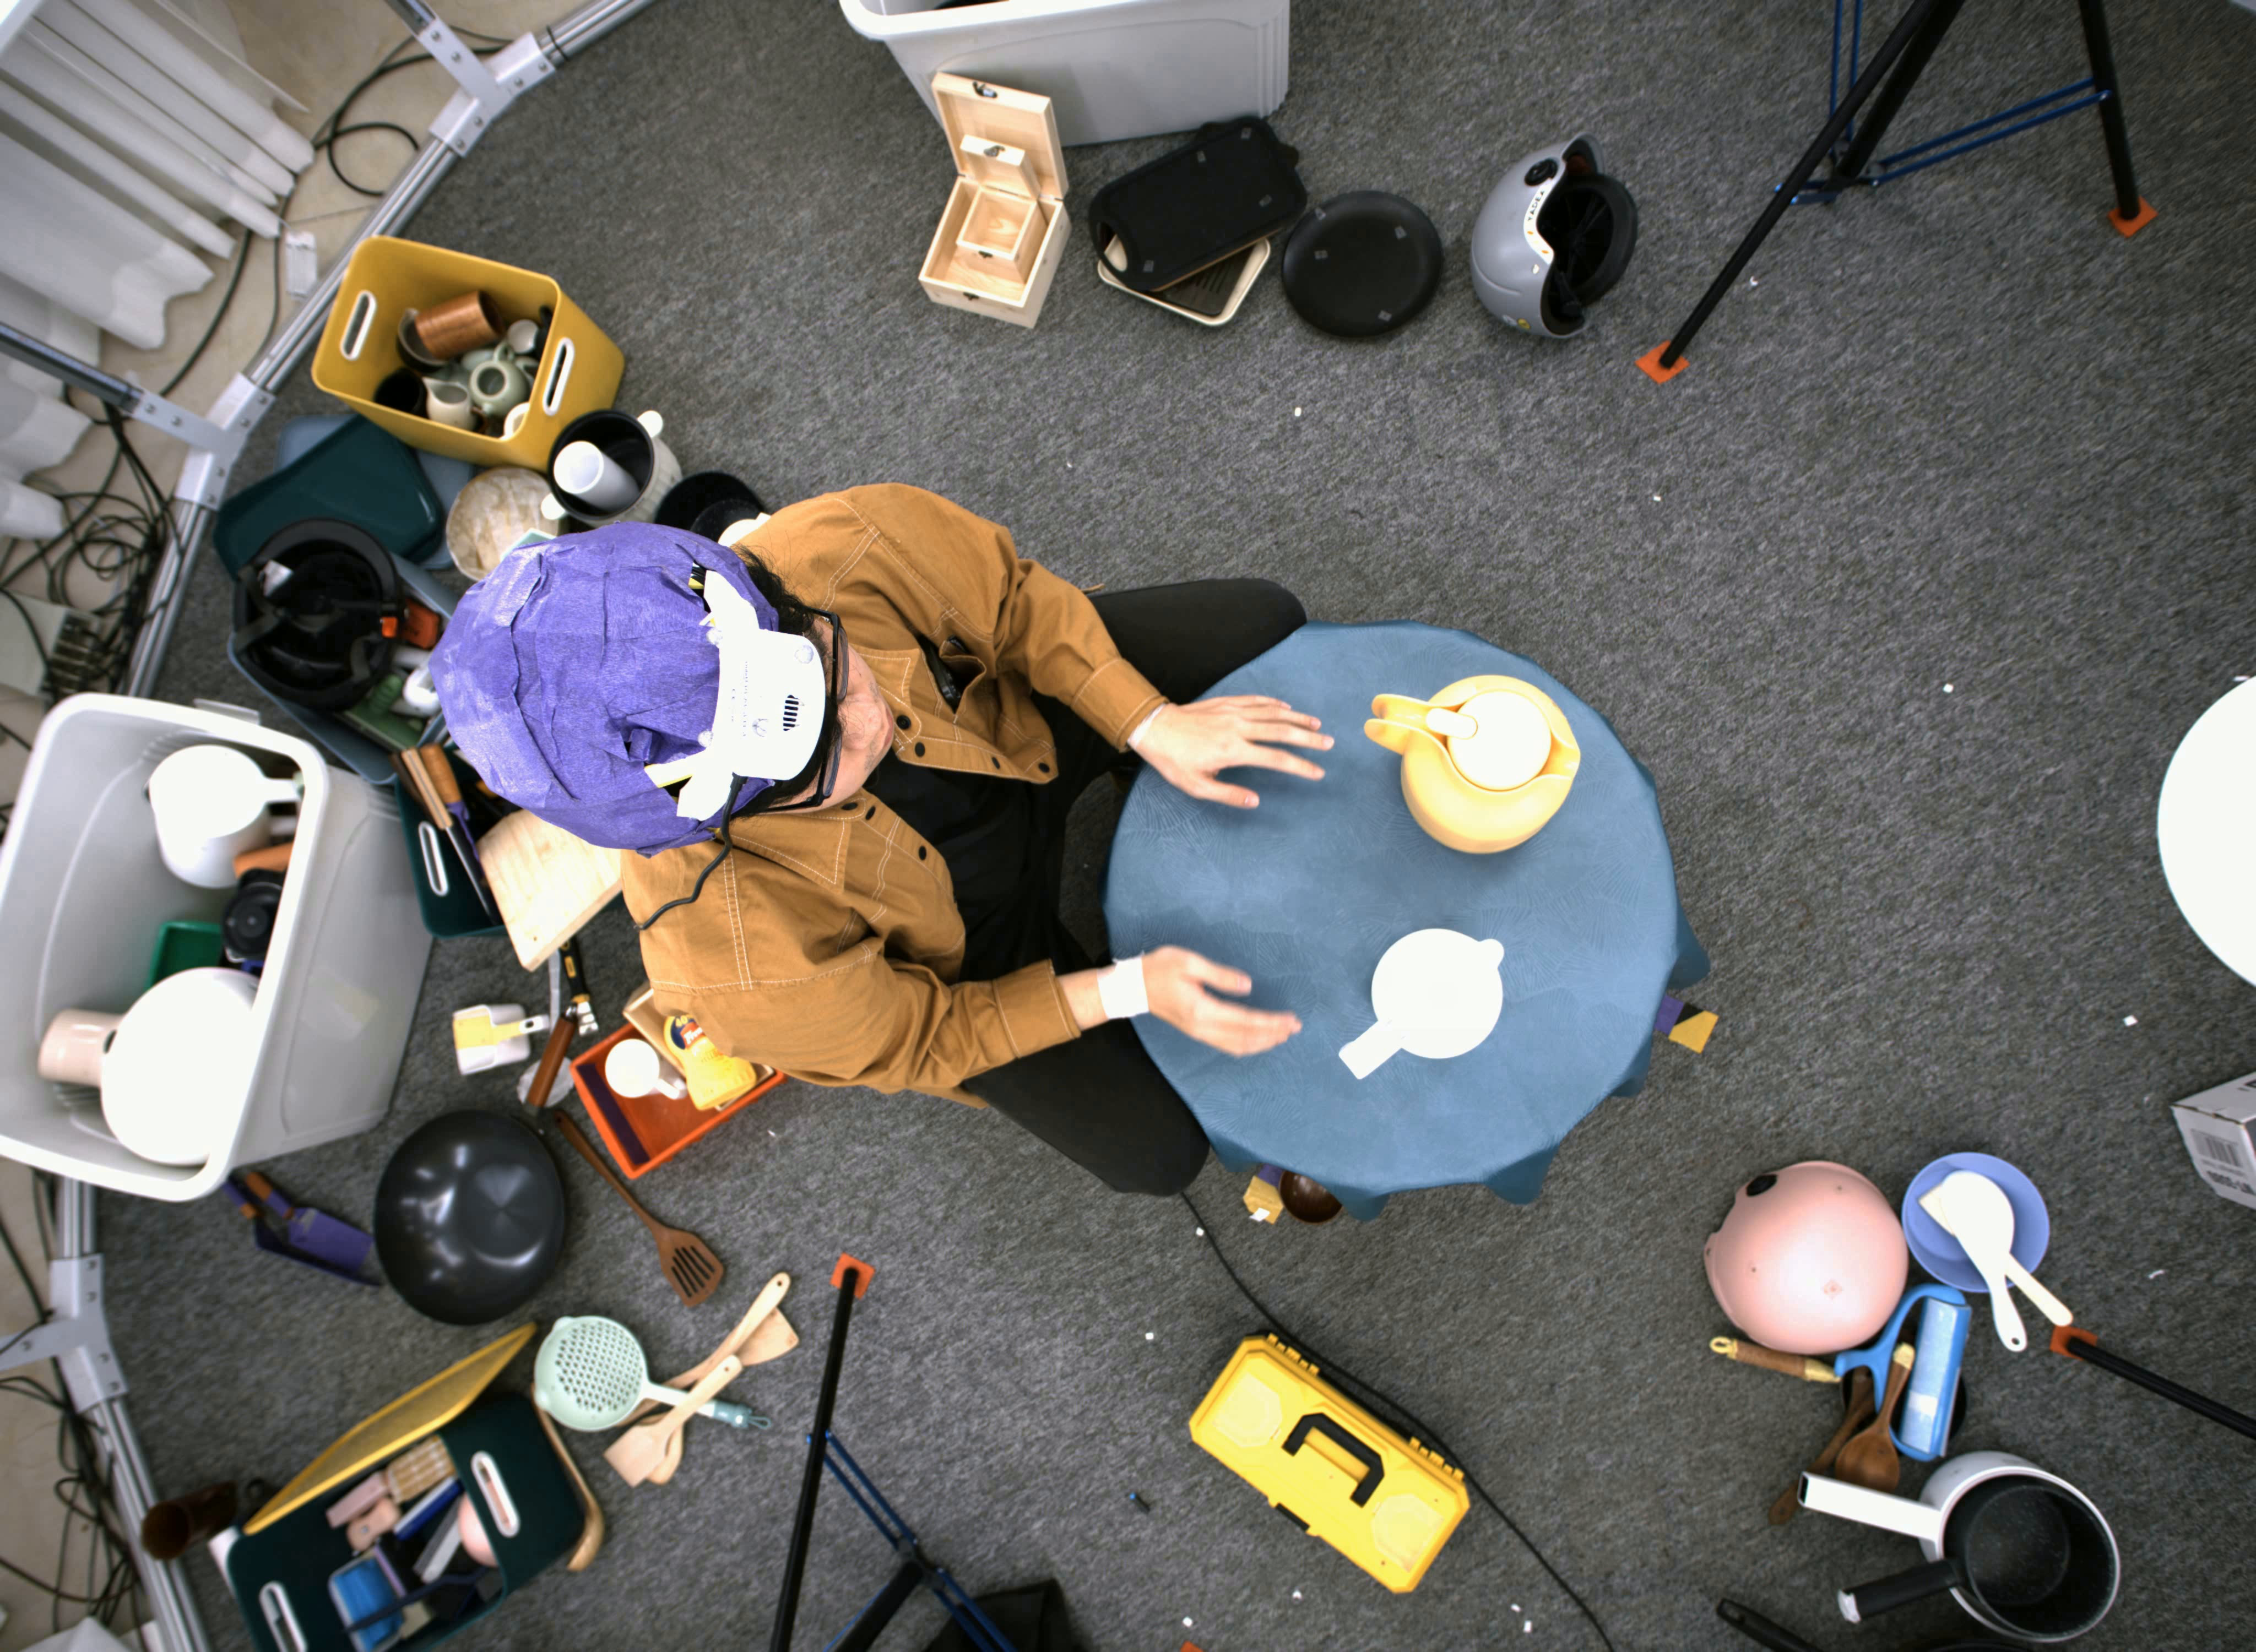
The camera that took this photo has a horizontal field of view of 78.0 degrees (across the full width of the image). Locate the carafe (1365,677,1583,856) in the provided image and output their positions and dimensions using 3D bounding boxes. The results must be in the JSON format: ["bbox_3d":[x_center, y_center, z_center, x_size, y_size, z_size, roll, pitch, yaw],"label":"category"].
[{"bbox_3d":[0.328,-0.071,1.323,0.202,0.261,0.163,22,86,10],"label":"carafe"}]

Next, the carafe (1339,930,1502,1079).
[{"bbox_3d":[0.279,0.171,1.319,0.173,0.269,0.123,-41,81,5],"label":"carafe"}]
